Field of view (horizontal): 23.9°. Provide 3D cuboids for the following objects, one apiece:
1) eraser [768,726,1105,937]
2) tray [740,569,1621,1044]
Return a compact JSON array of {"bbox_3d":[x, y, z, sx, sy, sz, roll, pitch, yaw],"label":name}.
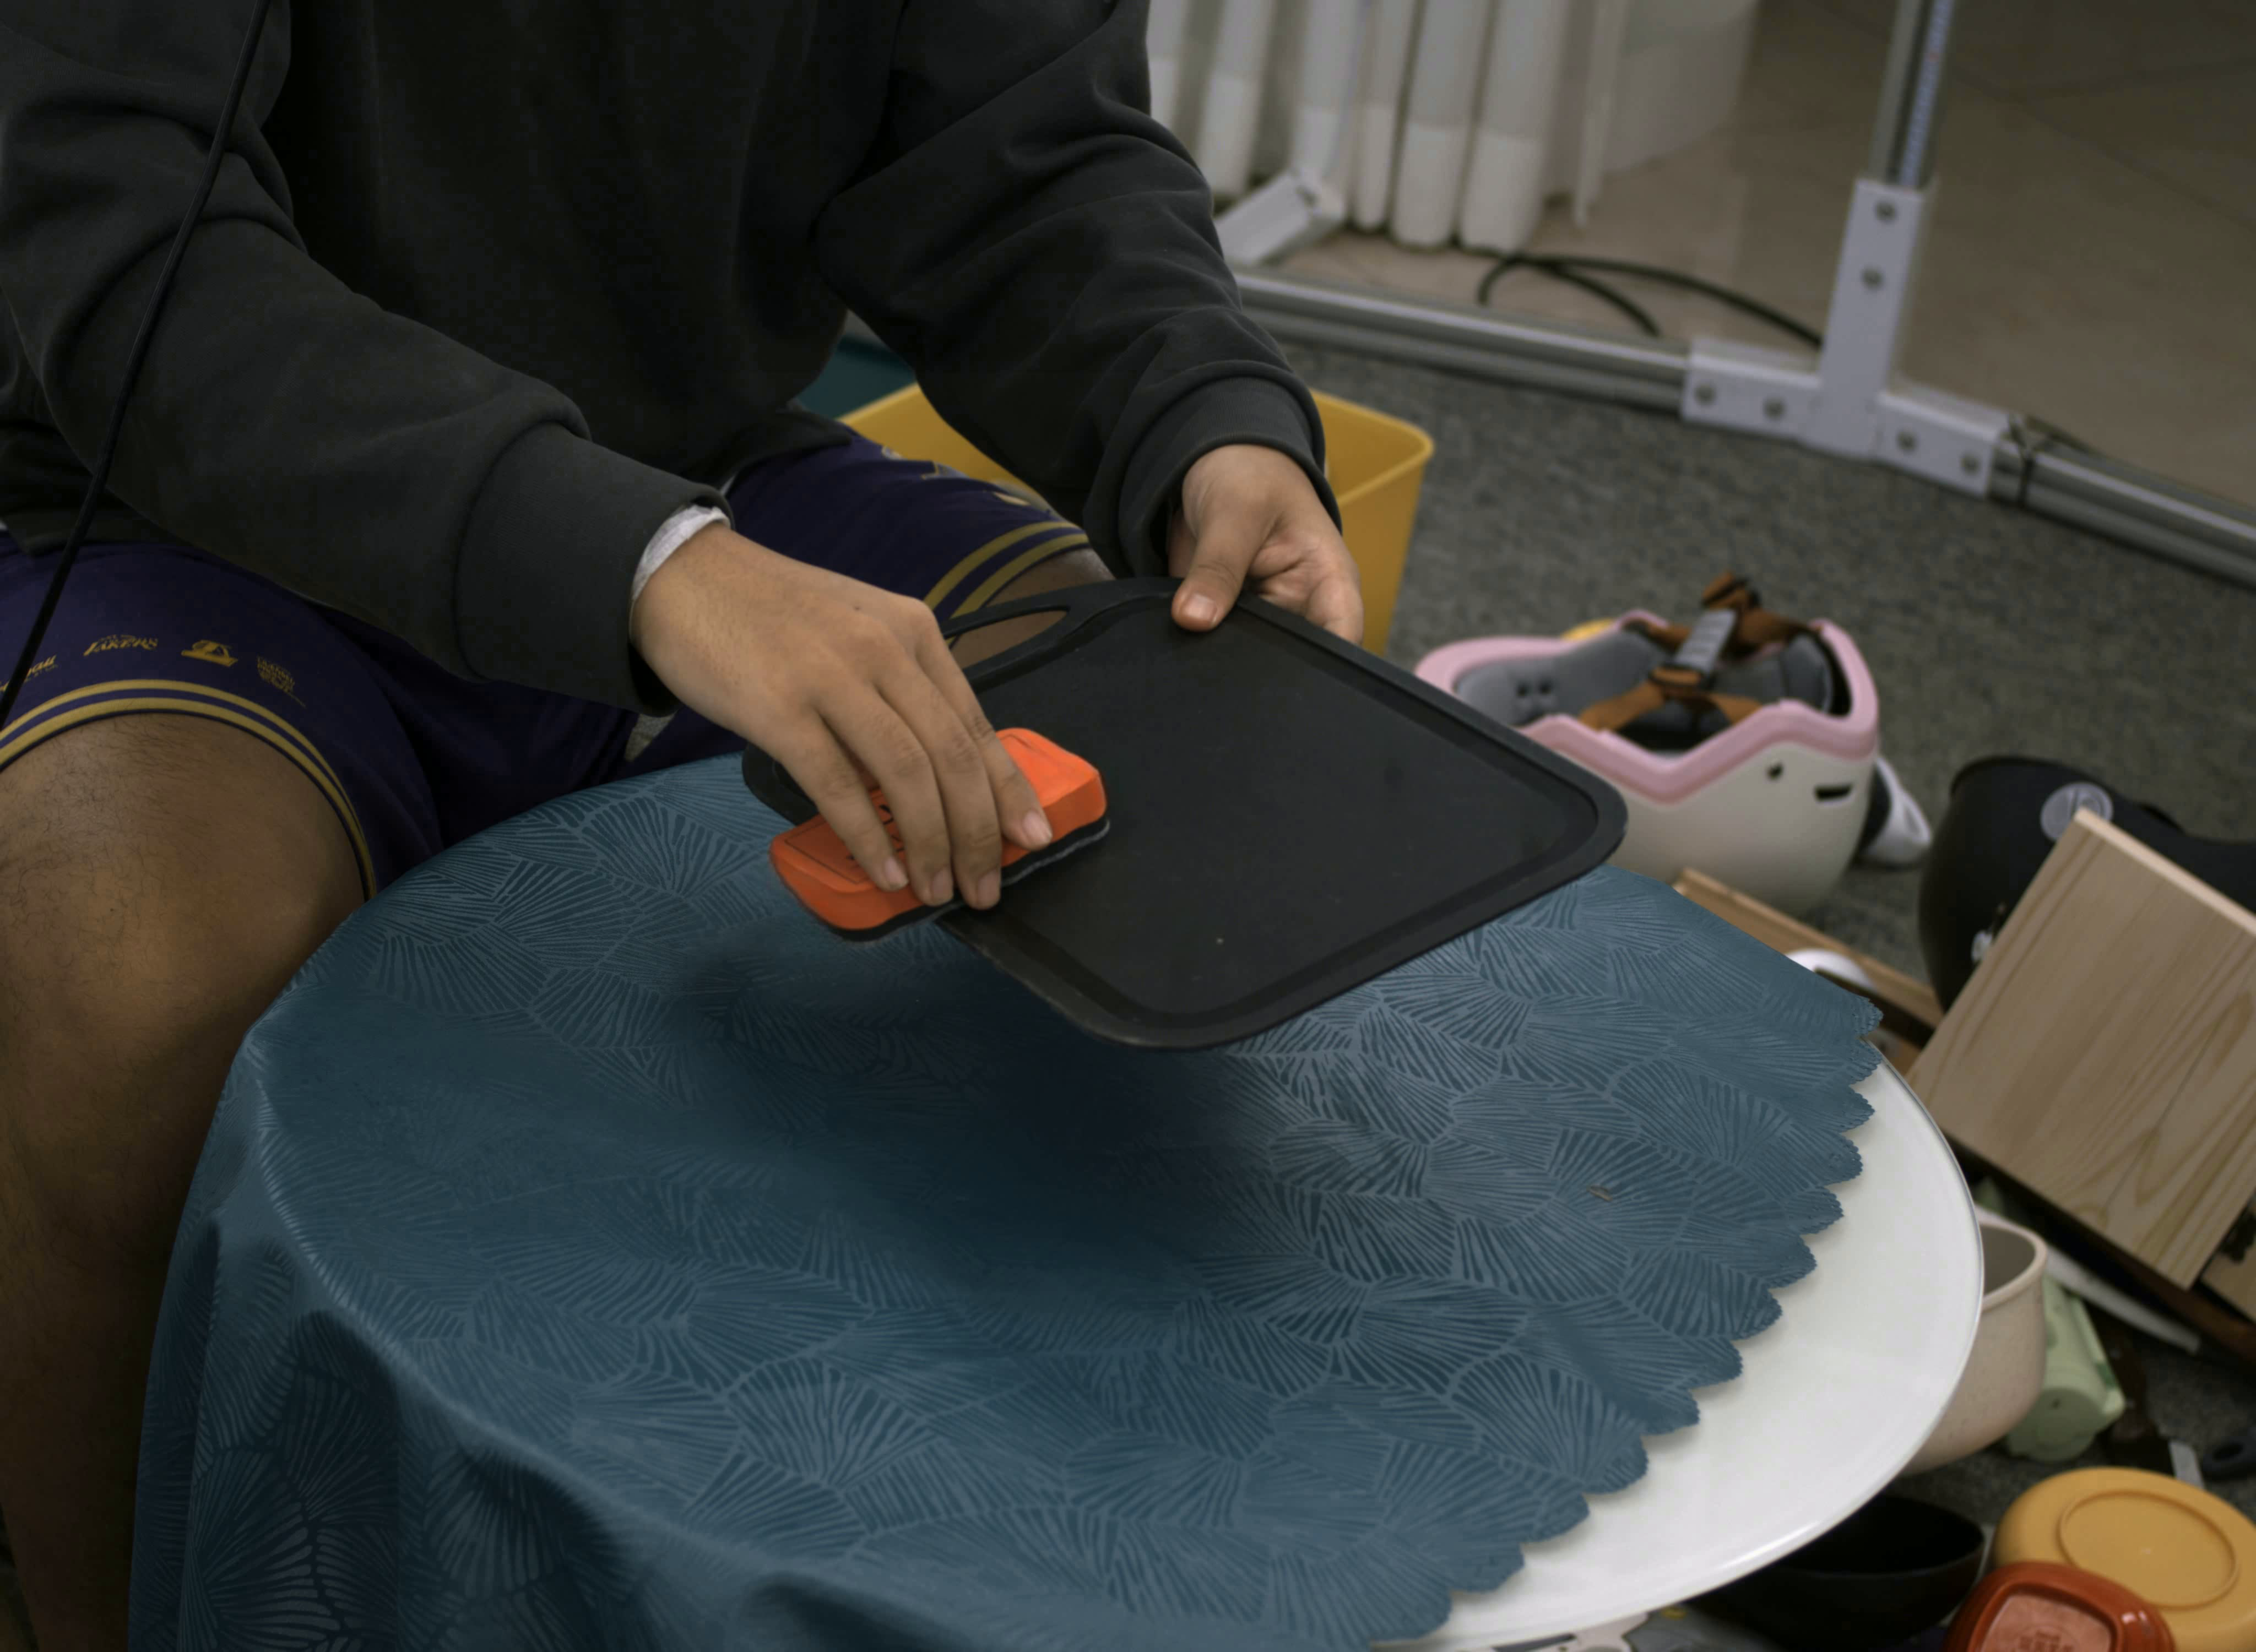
[{"bbox_3d":[-0.065,0.001,1.796,0.107,0.023,0.059,-25,32,-29],"label":"eraser"},{"bbox_3d":[0.007,-0.016,1.833,0.210,0.010,0.328,-24,32,-24],"label":"tray"}]
